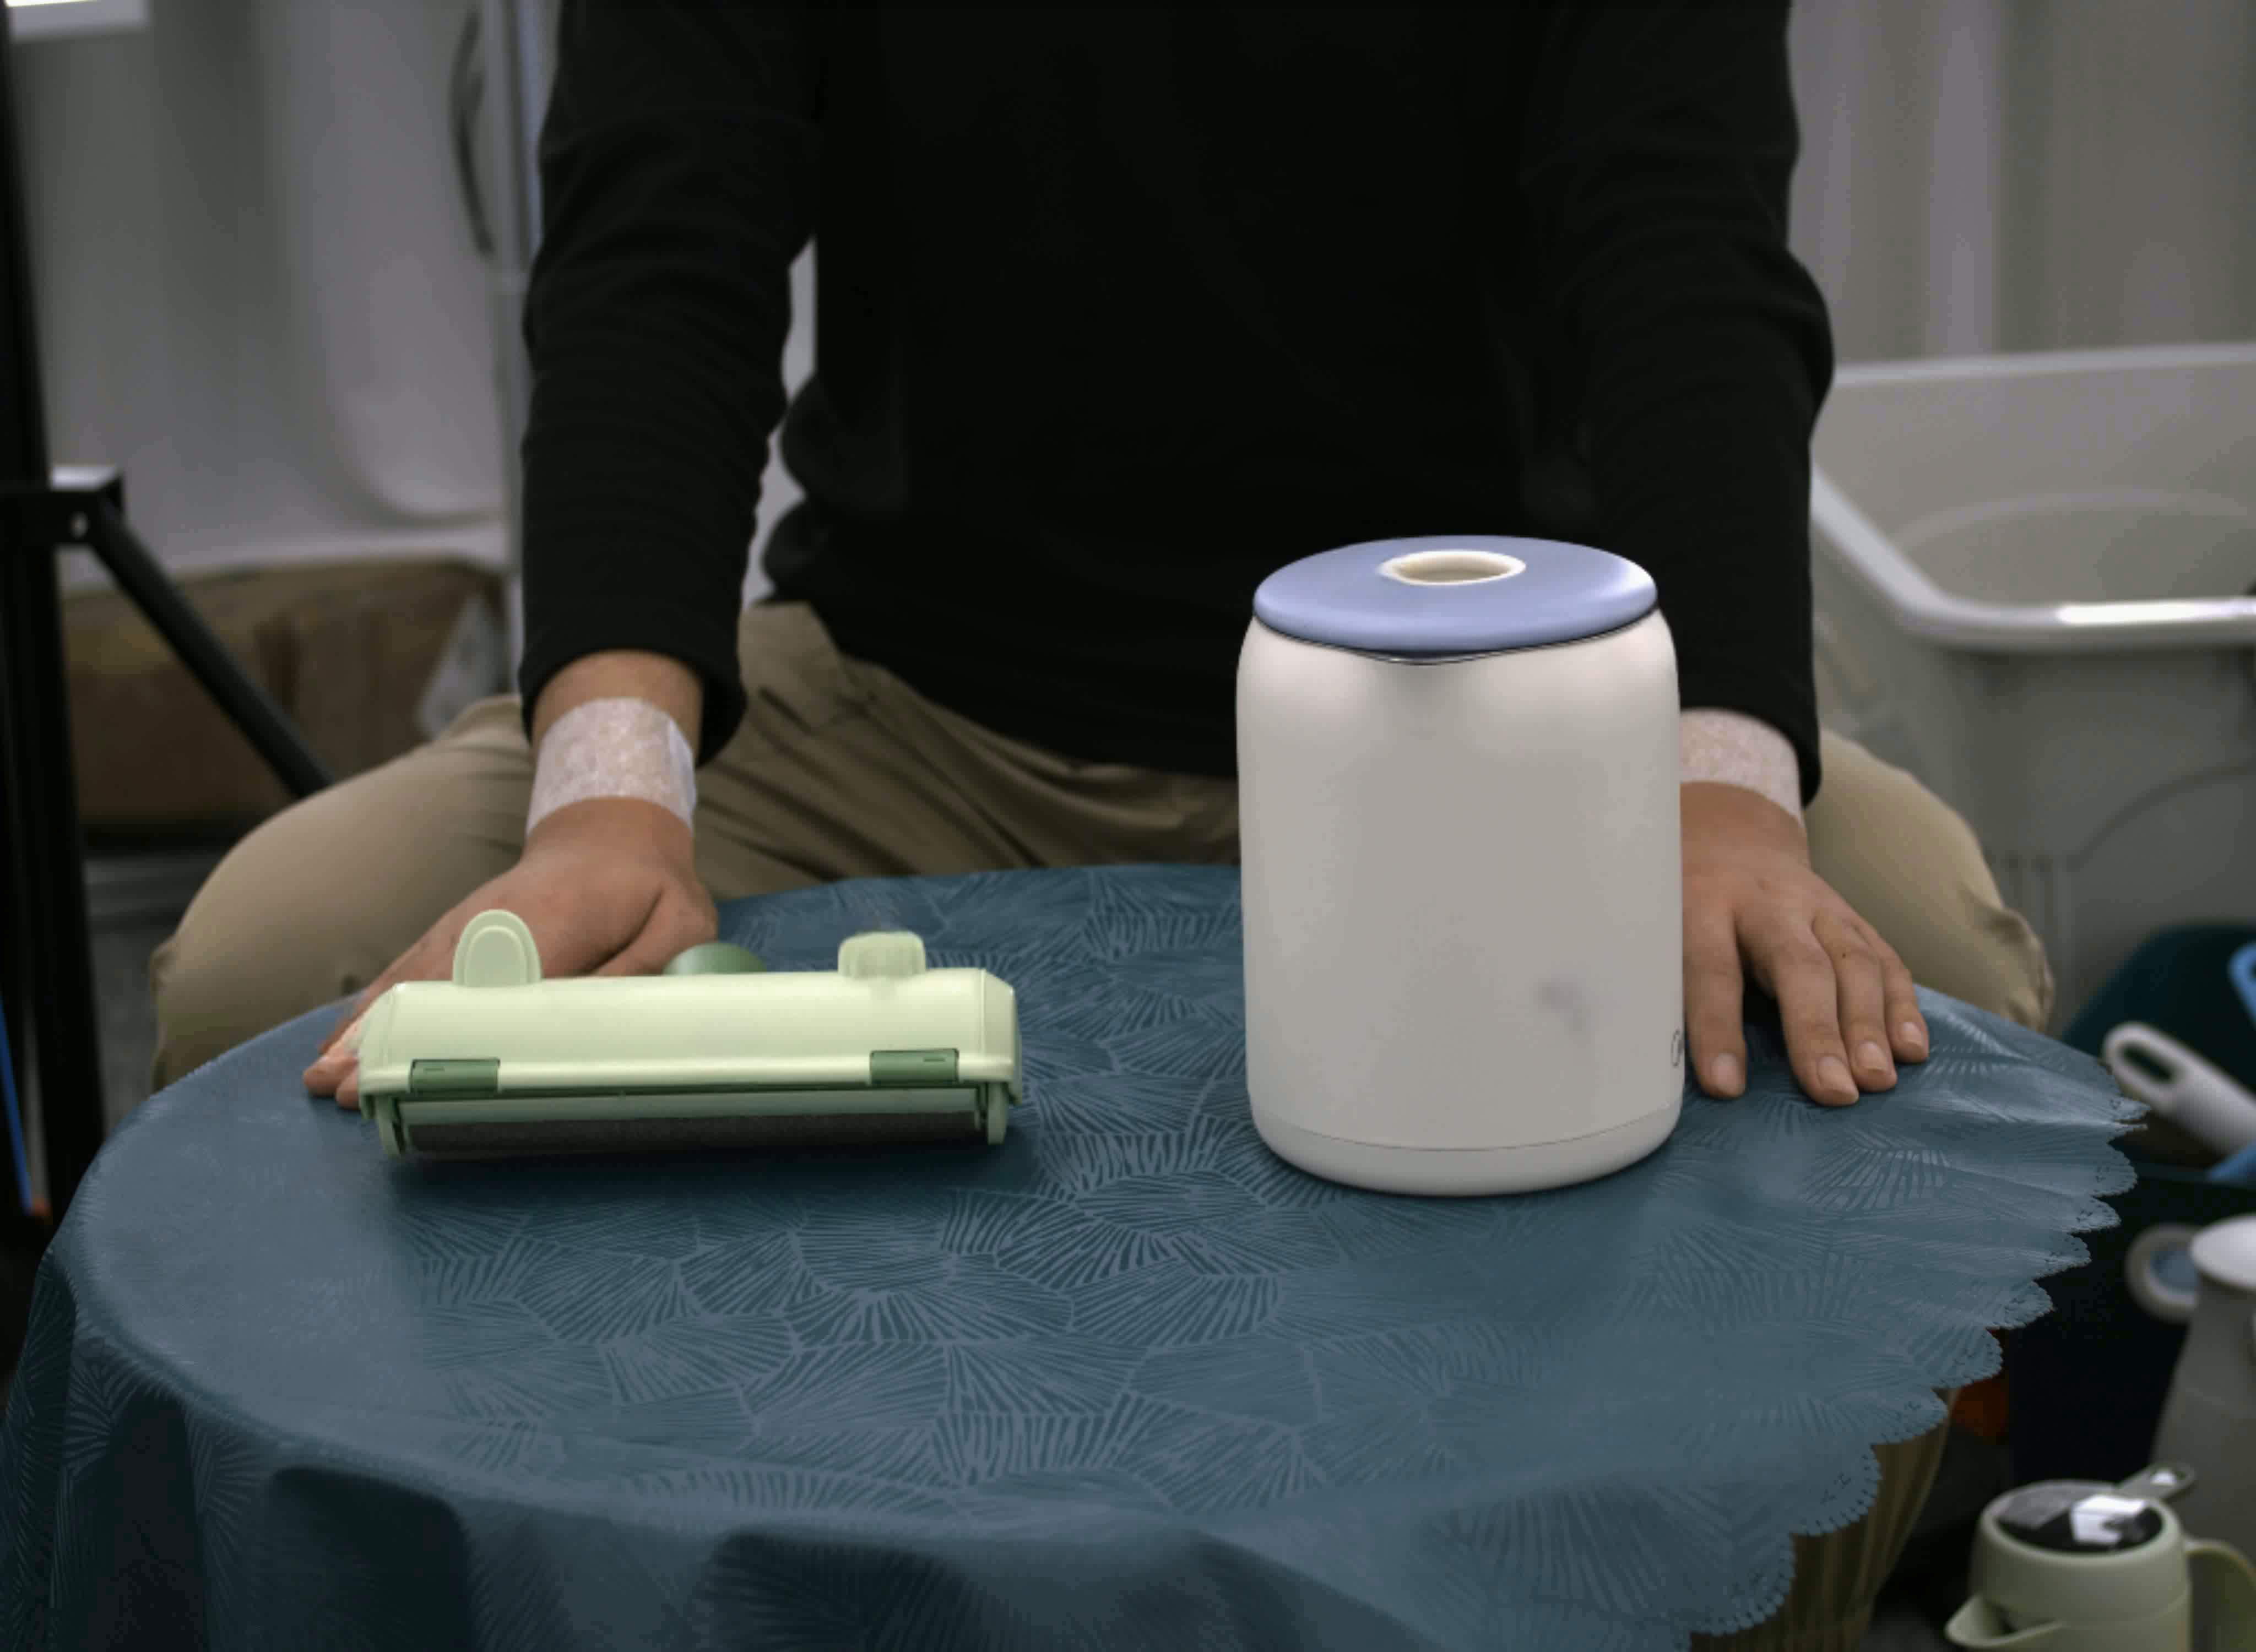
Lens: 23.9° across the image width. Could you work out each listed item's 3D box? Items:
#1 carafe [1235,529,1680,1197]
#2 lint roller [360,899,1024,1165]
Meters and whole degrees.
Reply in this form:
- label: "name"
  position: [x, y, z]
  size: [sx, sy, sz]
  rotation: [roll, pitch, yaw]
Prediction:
- label: "carafe"
  position: [0.102, 0.004, 1.594]
  size: [0.133, 0.182, 0.190]
  rotation: [2, 14, 11]
- label: "lint roller"
  position: [-0.131, 0.048, 1.650]
  size: [0.198, 0.082, 0.184]
  rotation: [-1, 18, 1]
